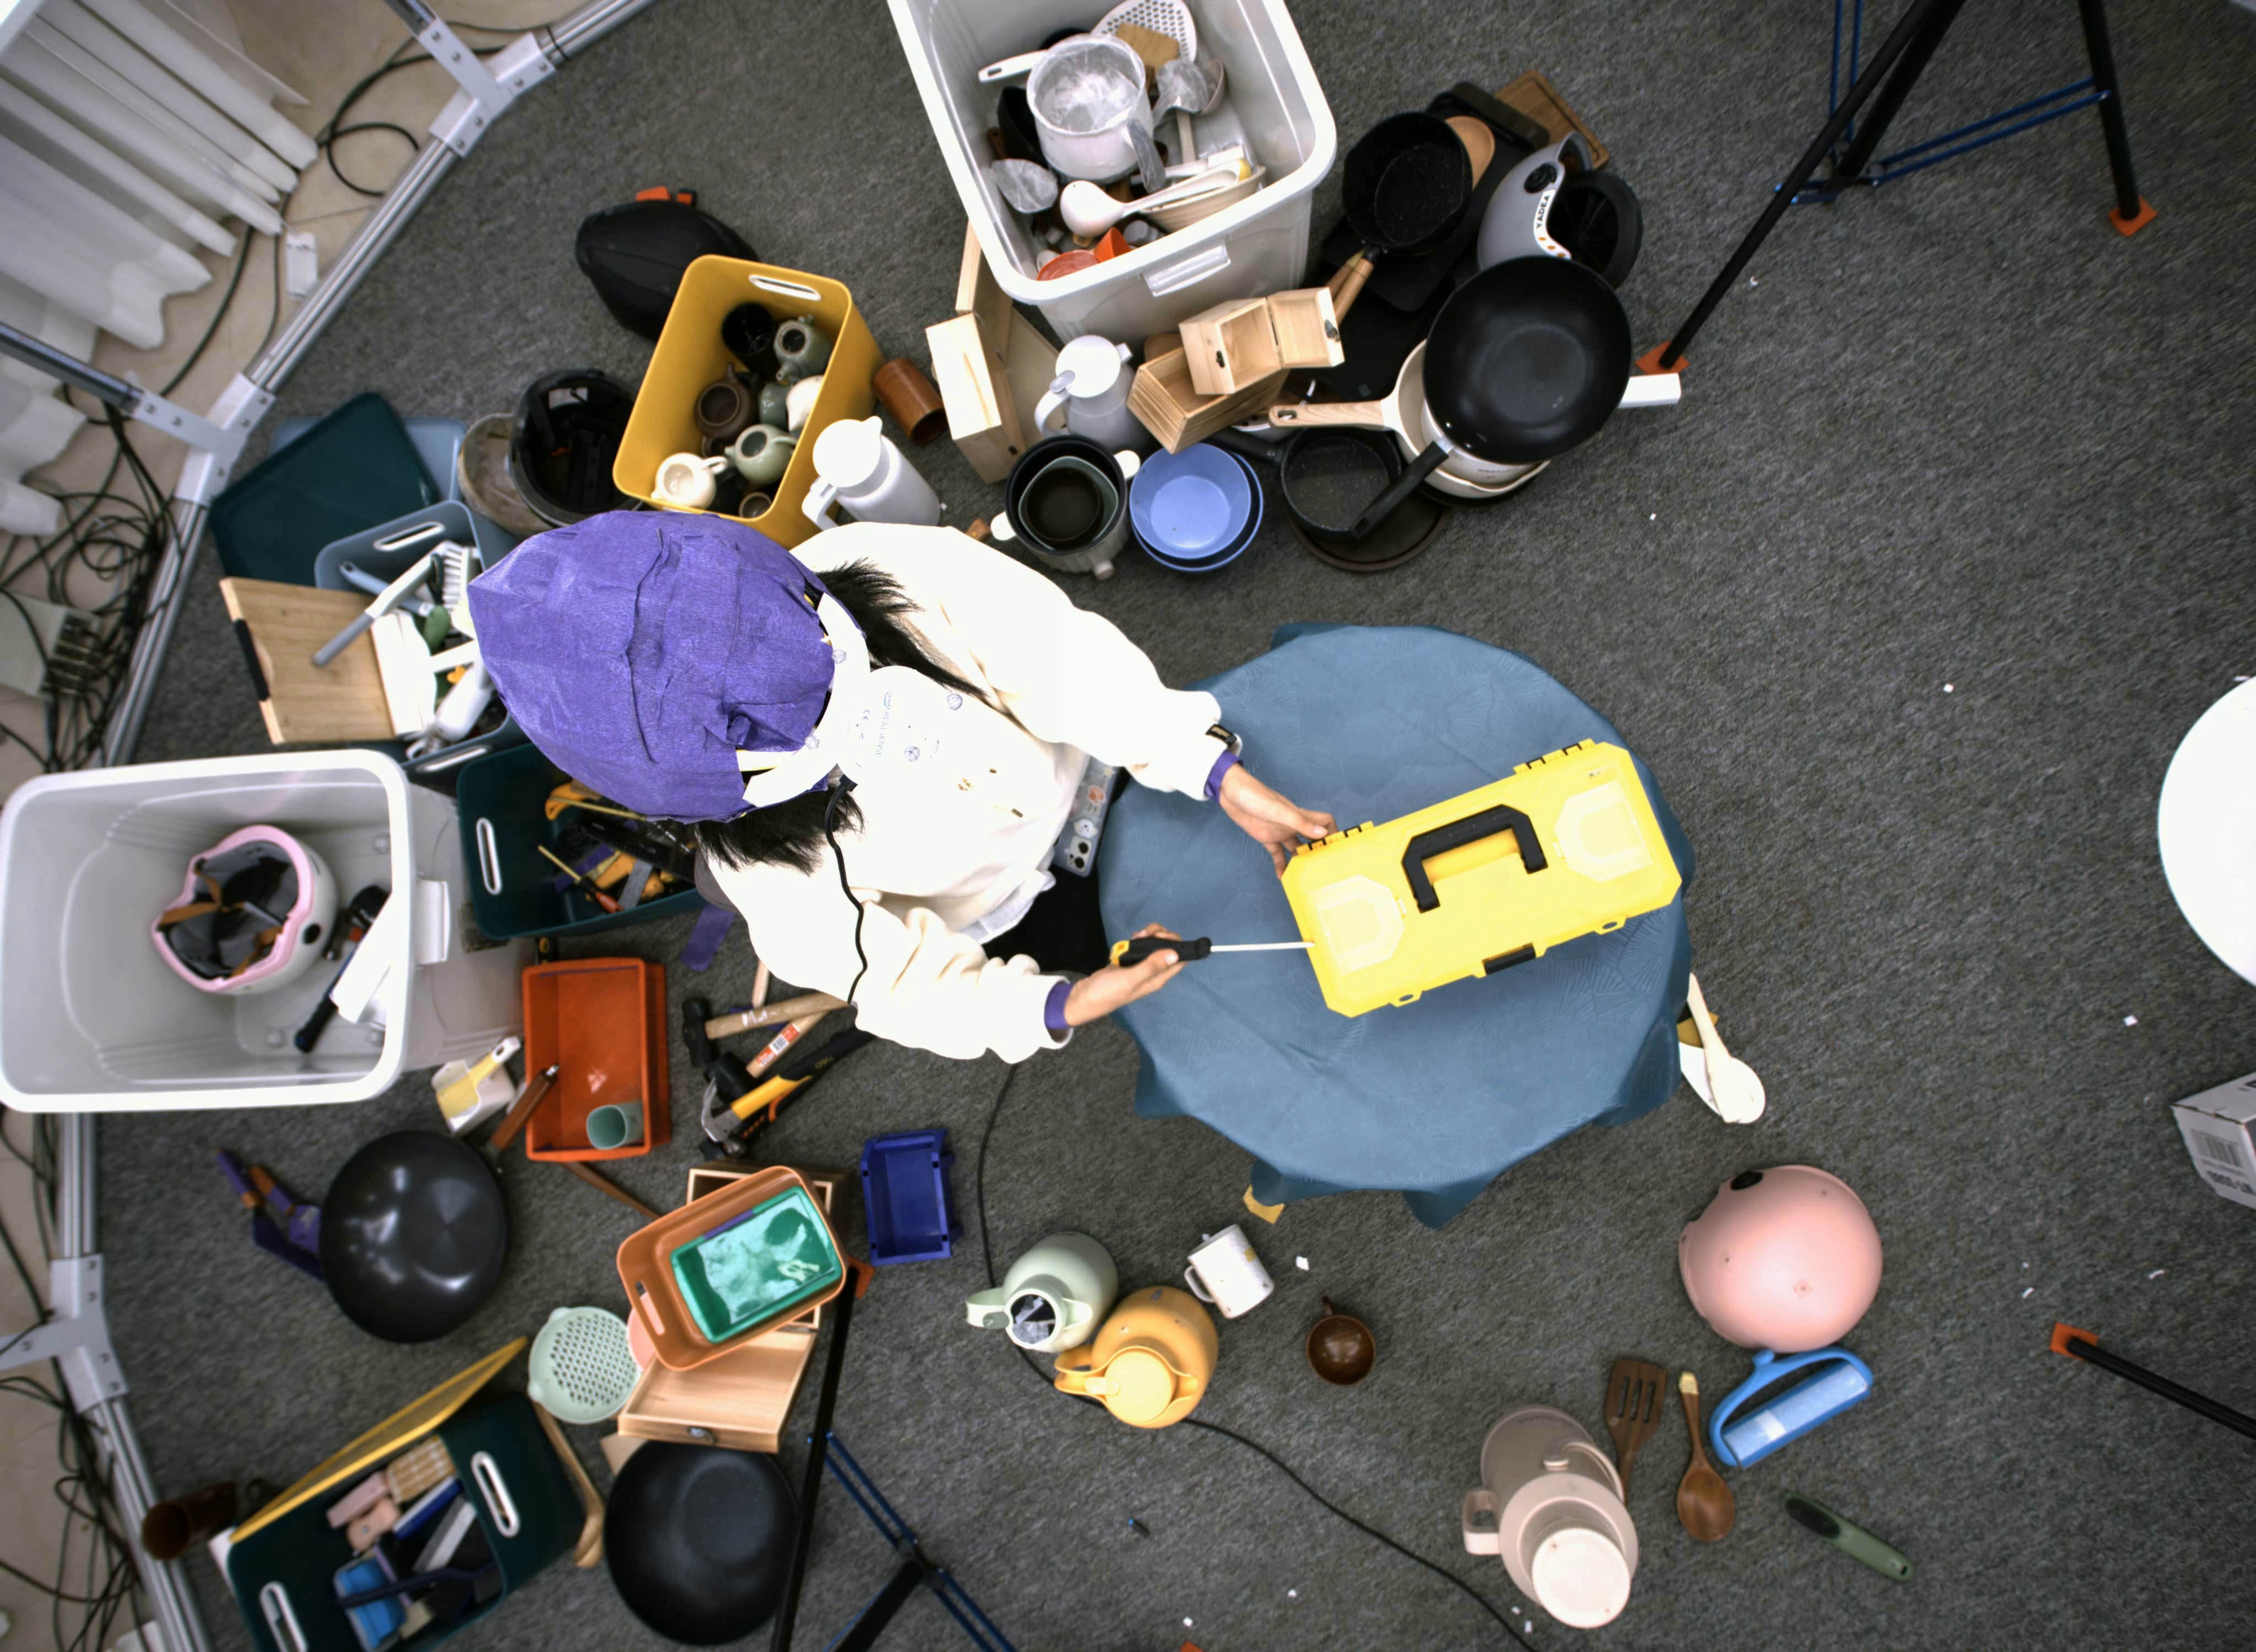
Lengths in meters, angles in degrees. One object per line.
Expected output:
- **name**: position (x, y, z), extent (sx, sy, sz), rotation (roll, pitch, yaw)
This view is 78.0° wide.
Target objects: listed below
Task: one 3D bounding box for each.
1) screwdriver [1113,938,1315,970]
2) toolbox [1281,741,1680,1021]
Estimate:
- **screwdriver**: position (0.083, 0.121, 1.340), extent (0.197, 0.031, 0.031), rotation (-3, 84, 8)
- **toolbox**: position (0.341, 0.056, 1.360), extent (0.353, 0.173, 0.180), rotation (-20, 82, 8)
